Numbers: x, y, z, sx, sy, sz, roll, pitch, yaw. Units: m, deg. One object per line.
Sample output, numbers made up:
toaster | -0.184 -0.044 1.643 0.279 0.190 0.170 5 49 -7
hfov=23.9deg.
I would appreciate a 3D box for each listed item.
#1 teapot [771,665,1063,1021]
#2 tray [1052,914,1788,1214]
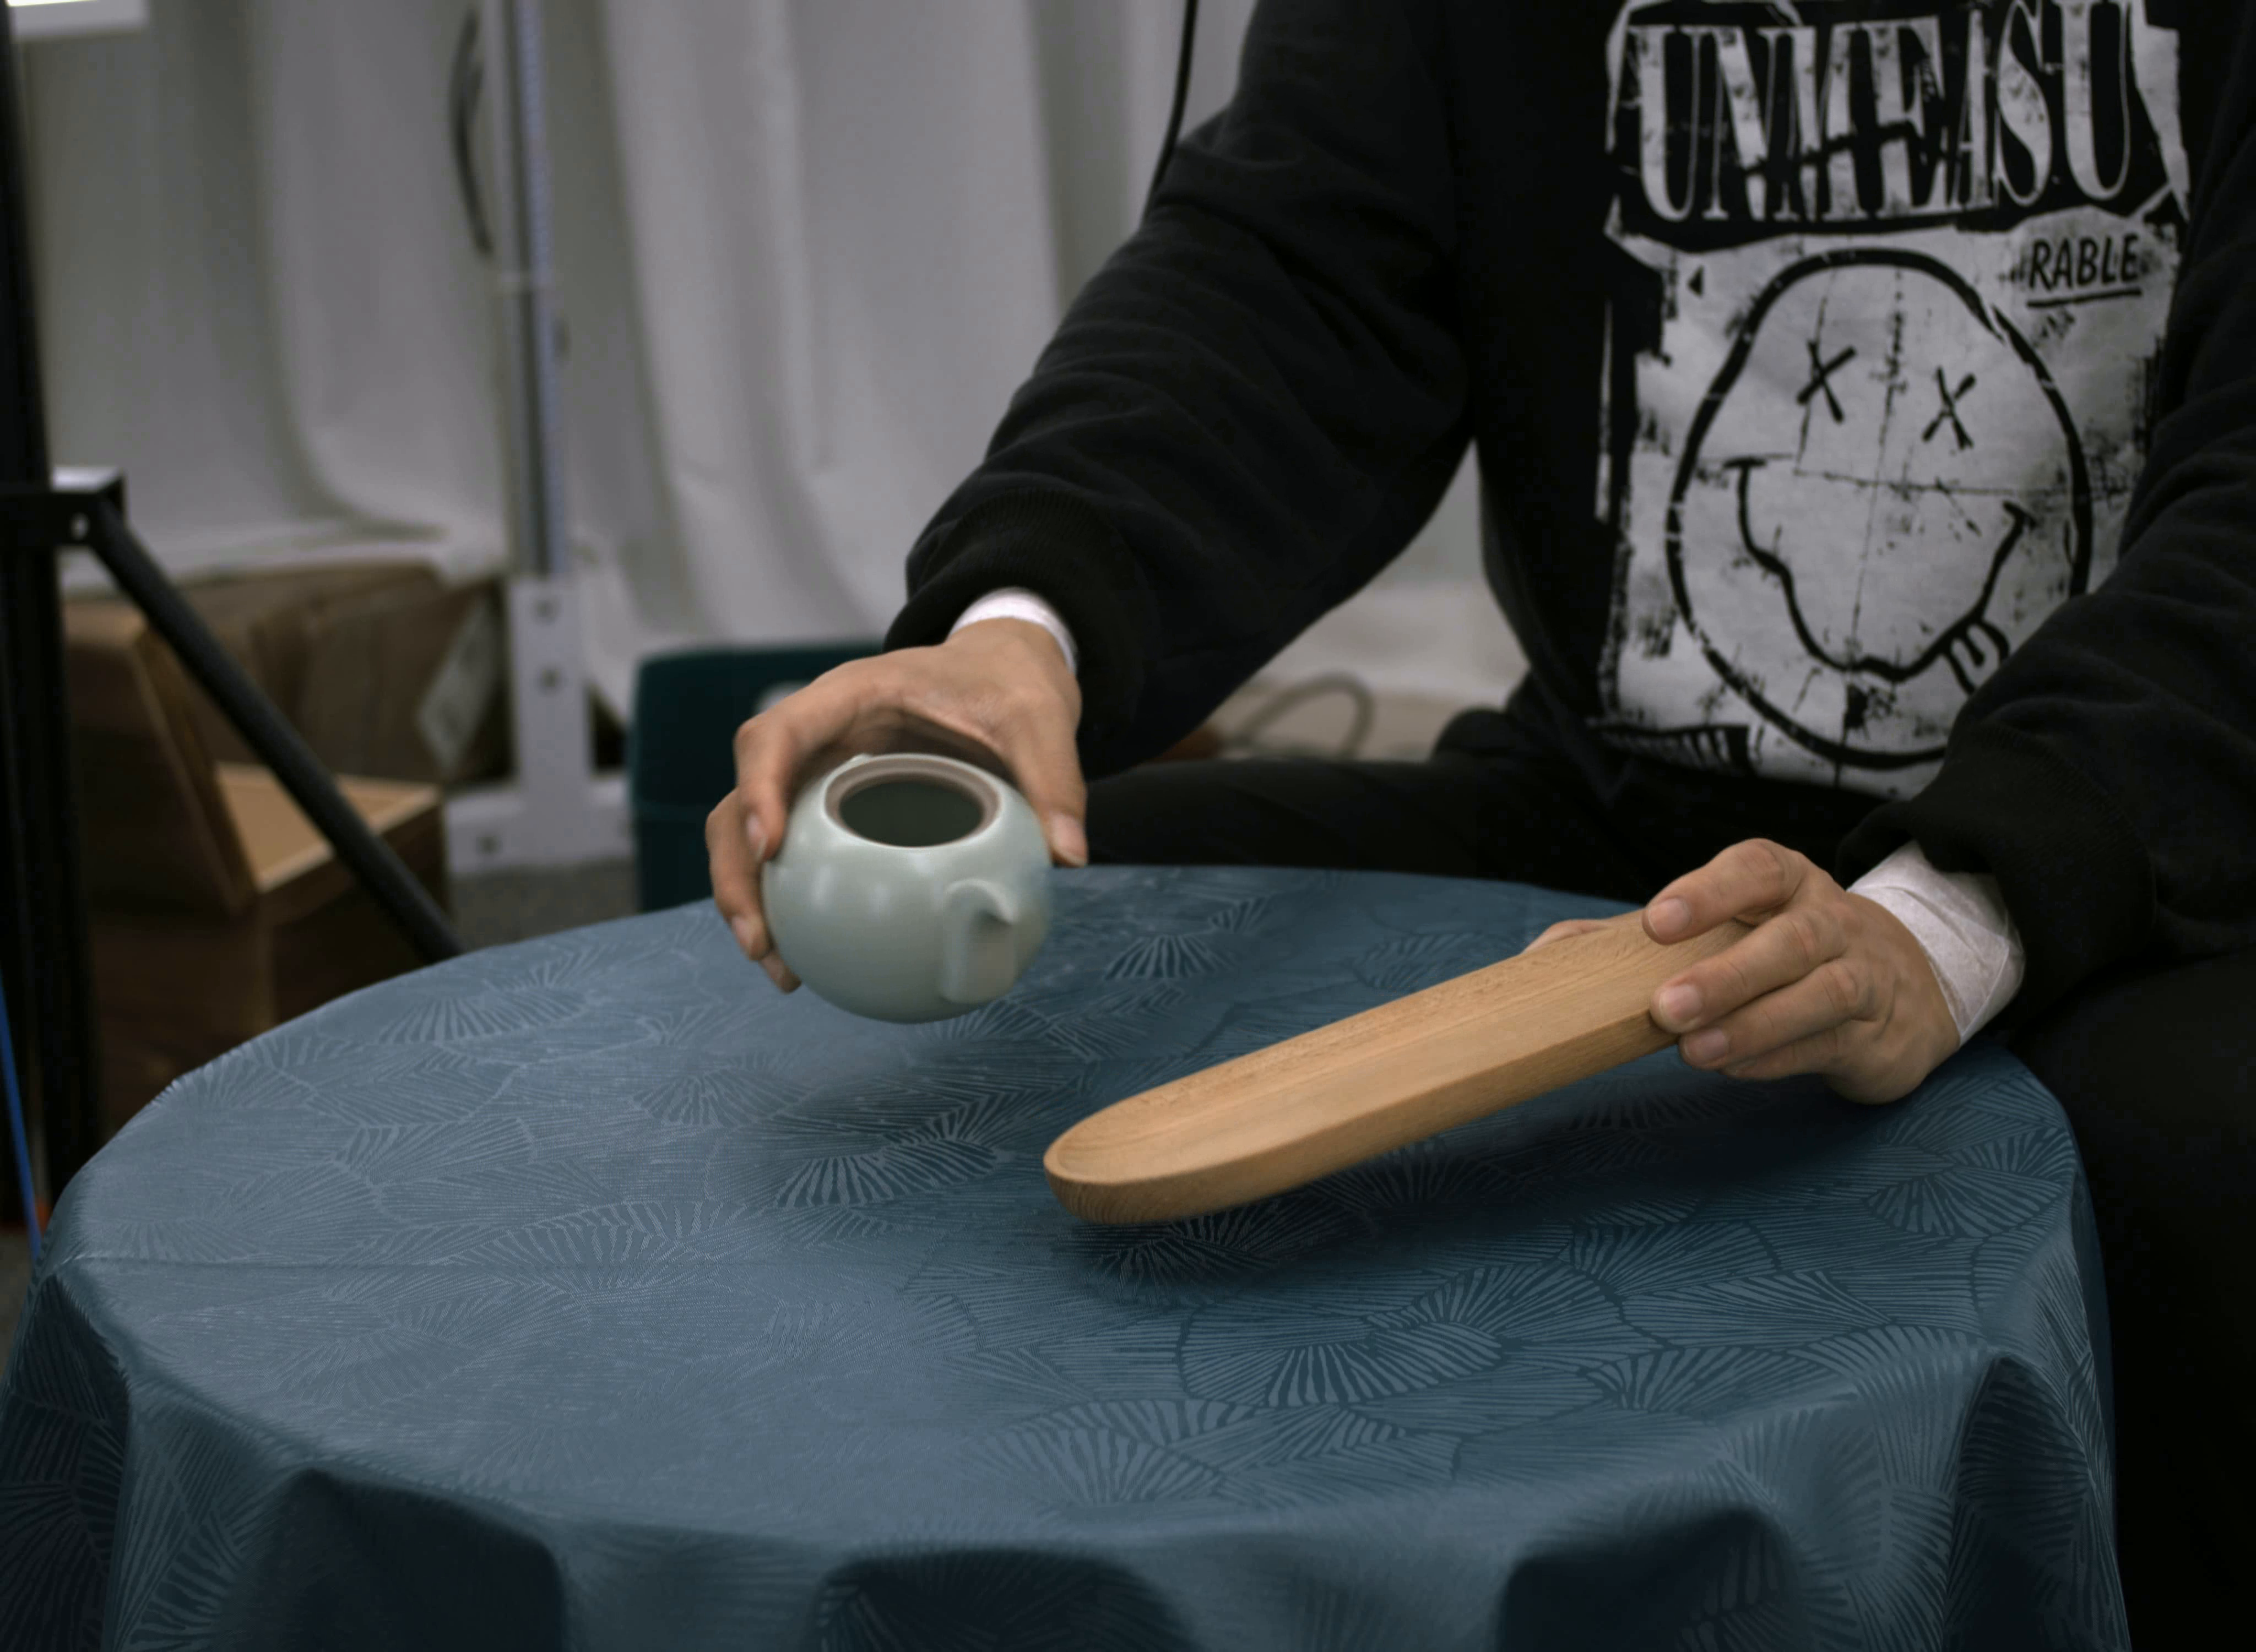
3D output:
teapot | -0.063 0.016 1.596 0.086 0.074 0.147 -12 38 -25
tray | 0.087 0.068 1.534 0.227 0.020 0.103 -17 13 -20
